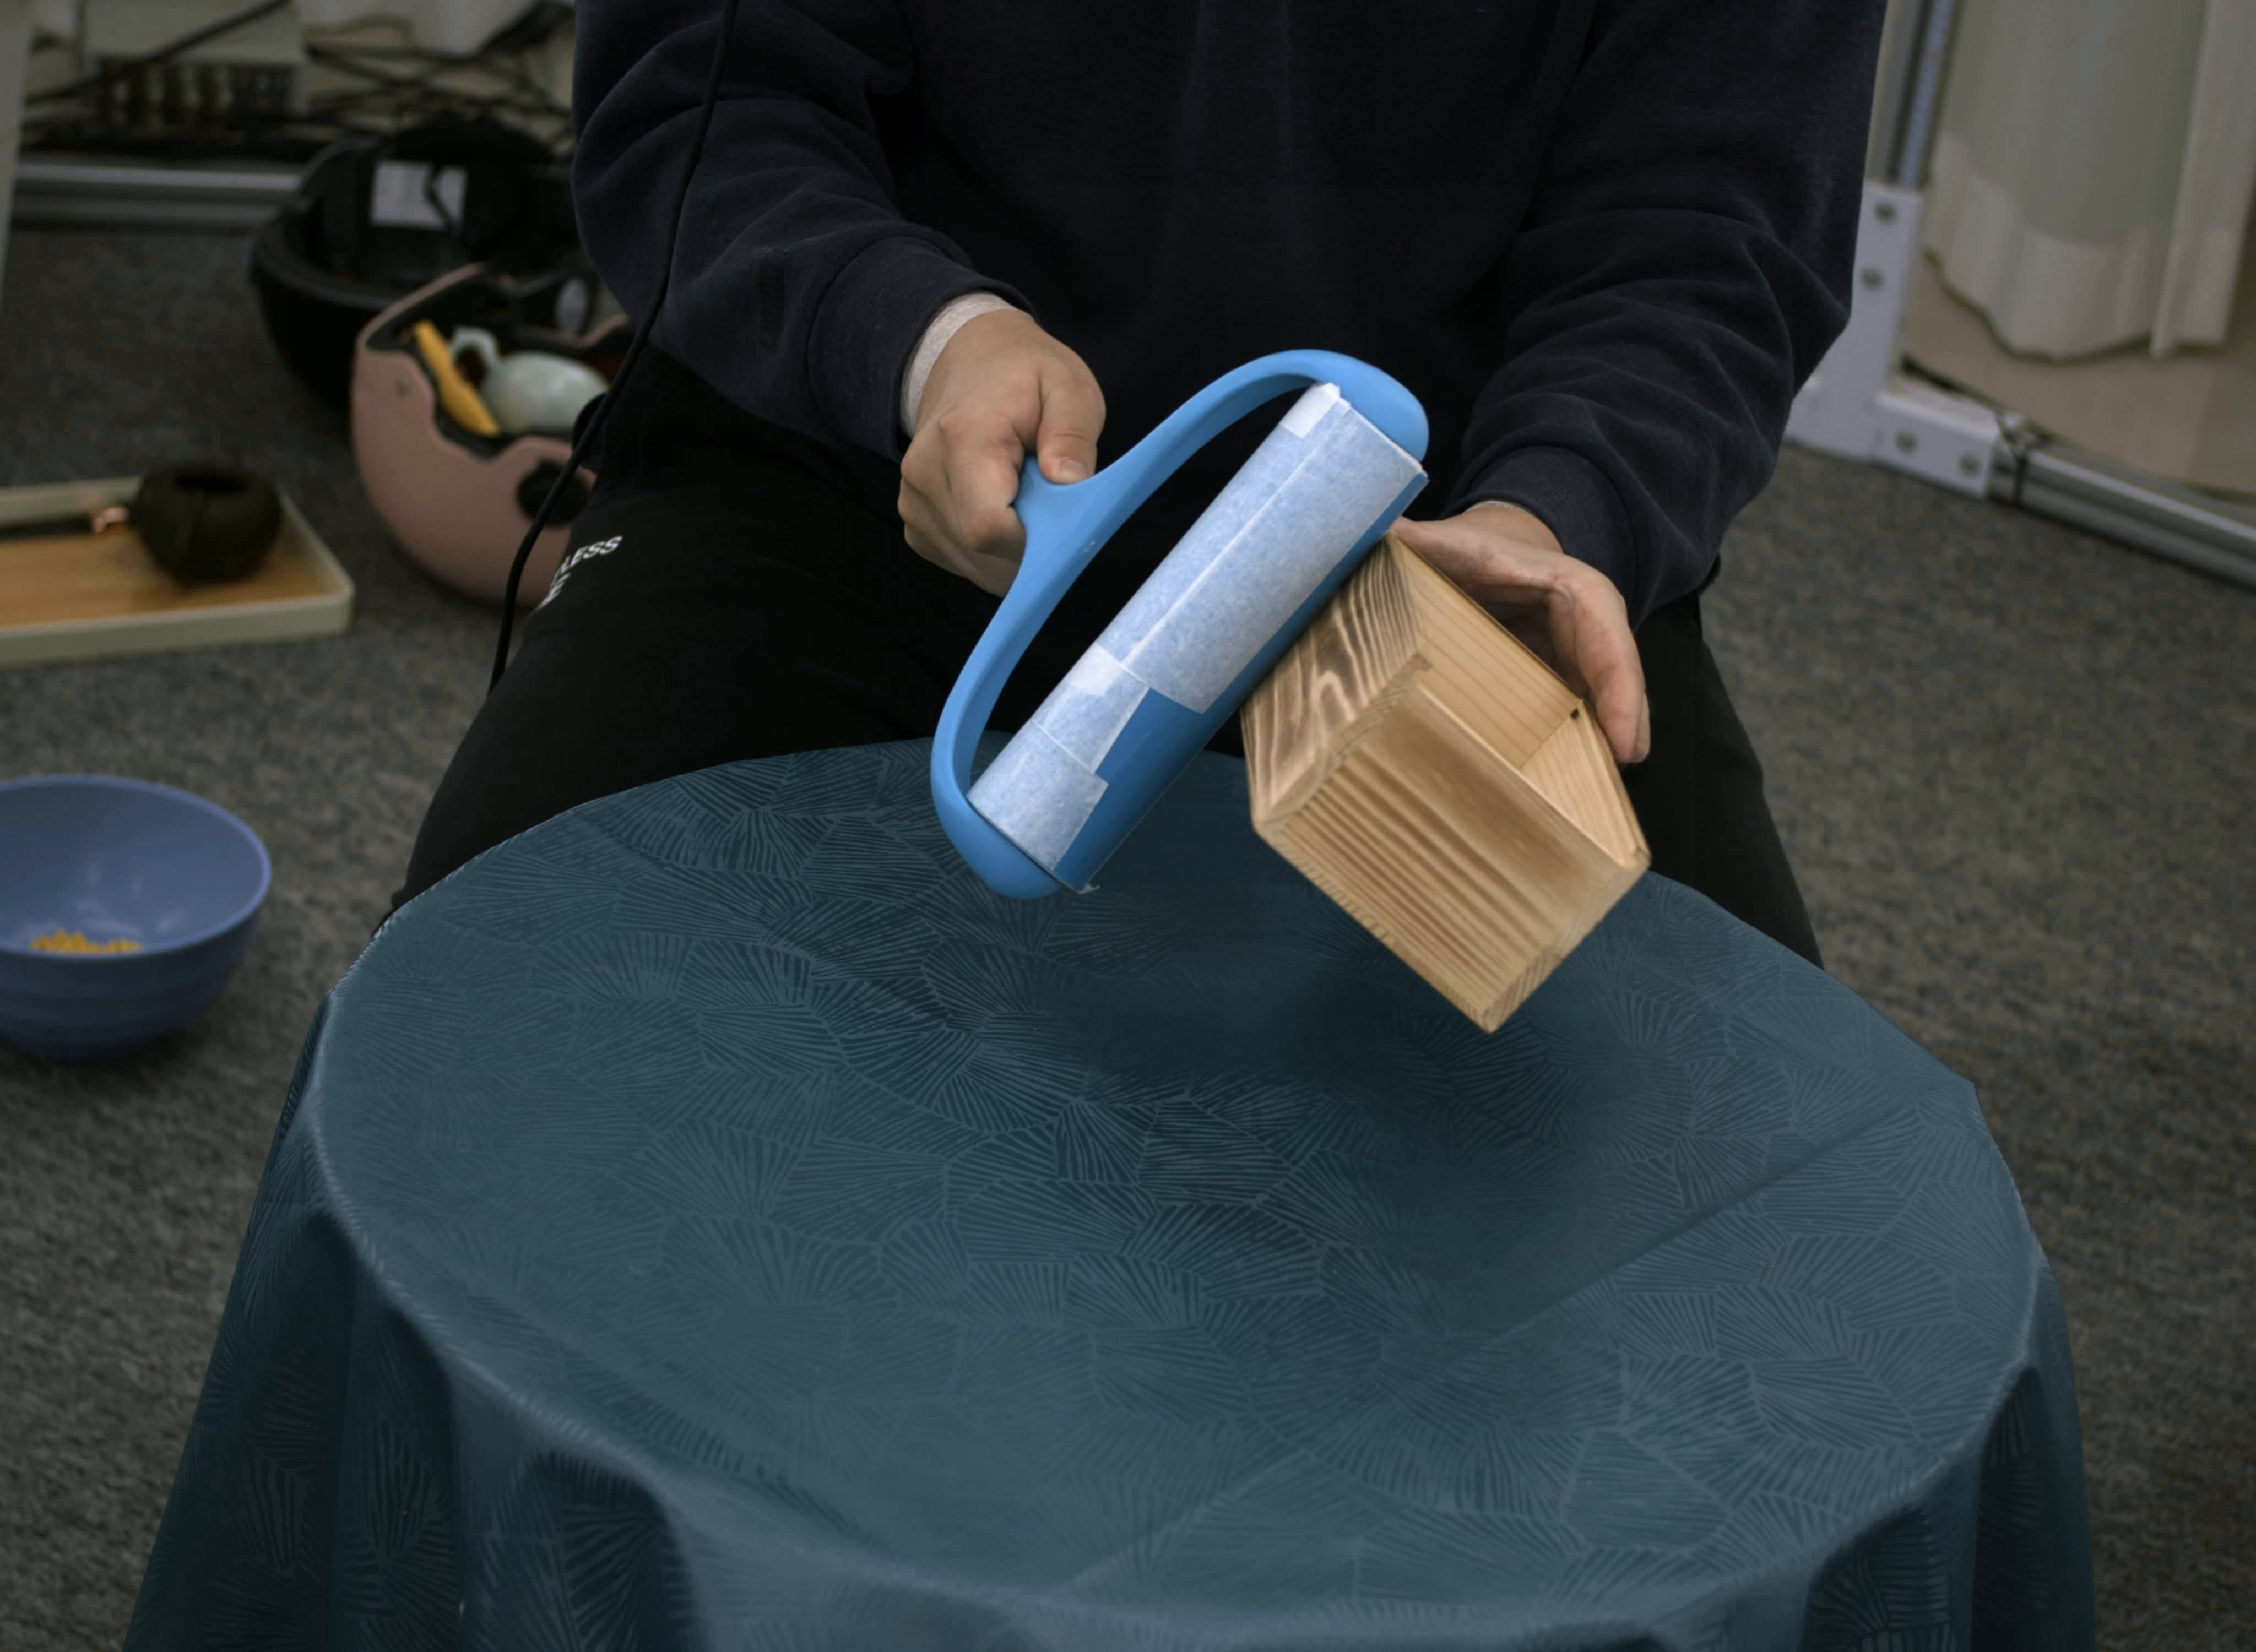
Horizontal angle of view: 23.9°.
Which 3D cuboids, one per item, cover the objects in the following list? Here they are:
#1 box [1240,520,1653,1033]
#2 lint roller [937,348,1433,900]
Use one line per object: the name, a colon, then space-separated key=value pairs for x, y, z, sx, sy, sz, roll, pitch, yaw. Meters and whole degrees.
box: x=0.105 y=-0.021 z=1.821 sx=0.107 sy=0.080 sz=0.212 roll=41 pitch=11 yaw=-11
lint roller: x=-0.008 y=-0.095 z=1.919 sx=0.067 sy=0.229 sz=0.182 roll=36 pitch=3 yaw=-46
